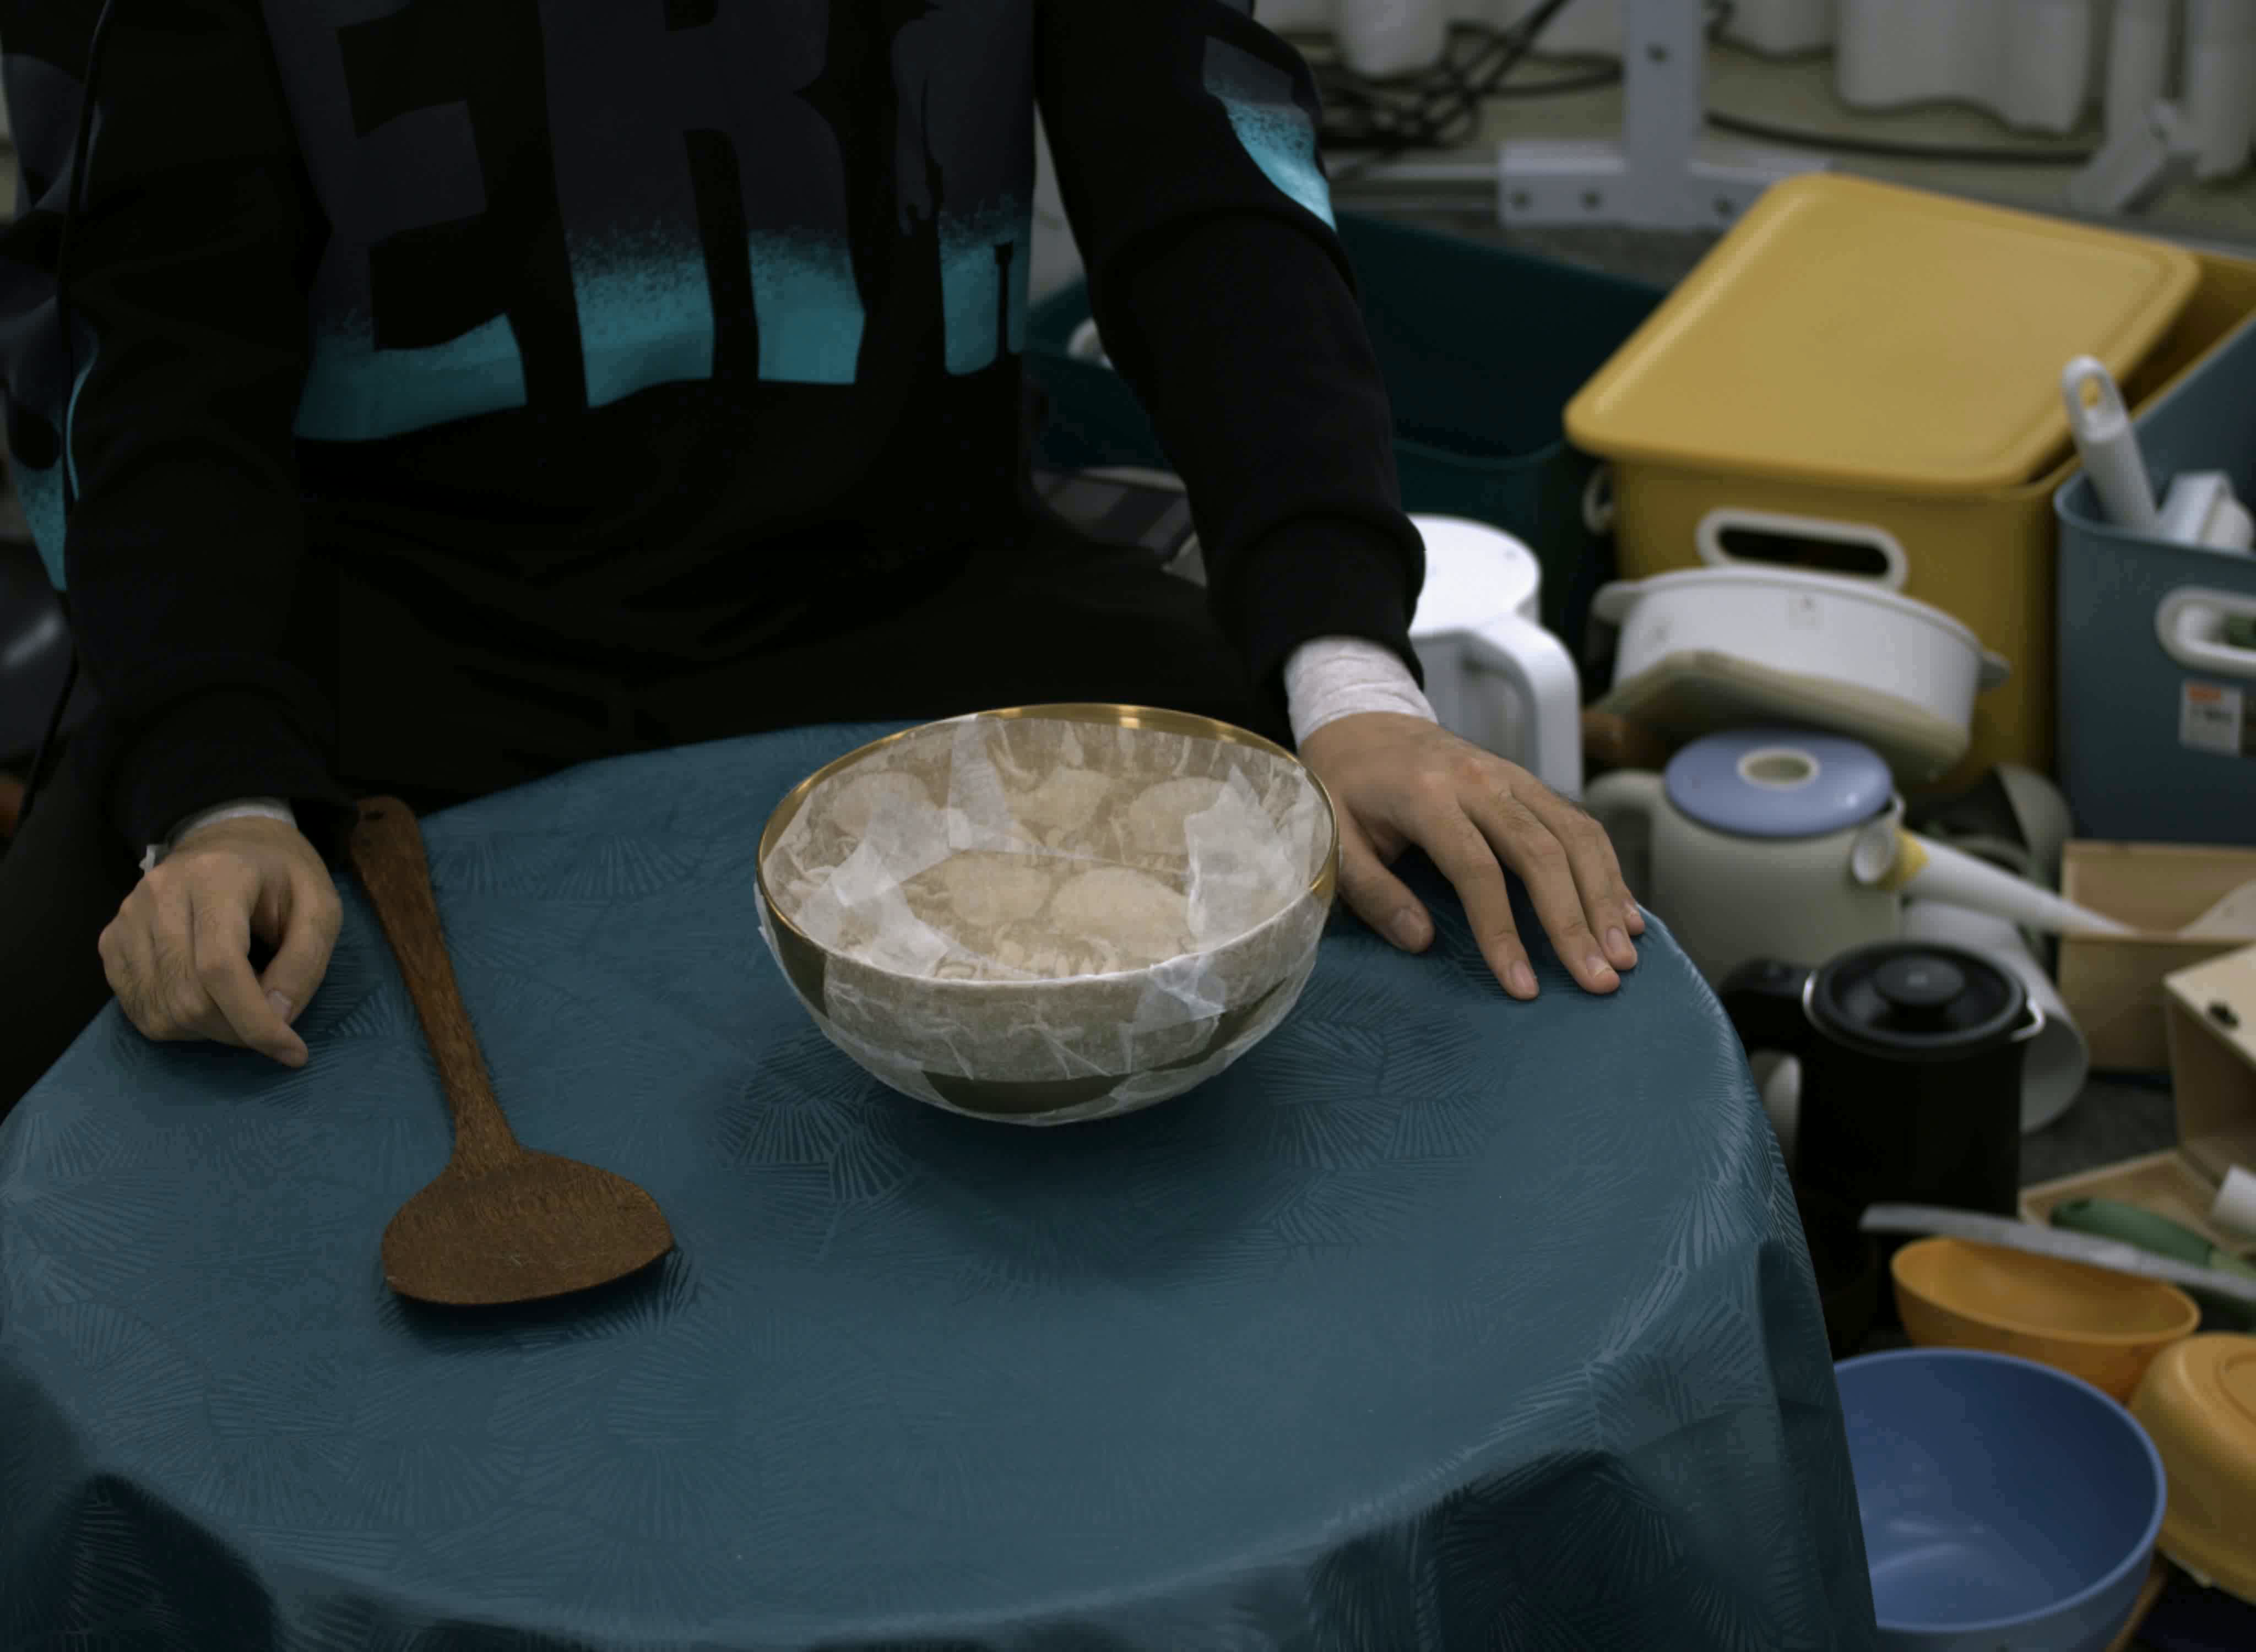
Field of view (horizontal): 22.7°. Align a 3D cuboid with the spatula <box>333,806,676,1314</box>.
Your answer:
[{"bbox_3d":[-0.238,0.074,1.965,0.096,0.015,0.390,-9,27,-13],"label":"spatula"}]

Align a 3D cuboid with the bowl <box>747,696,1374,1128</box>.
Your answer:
[{"bbox_3d":[-0.022,0.041,1.919,0.213,0.093,0.218,-4,26,2],"label":"bowl"}]
